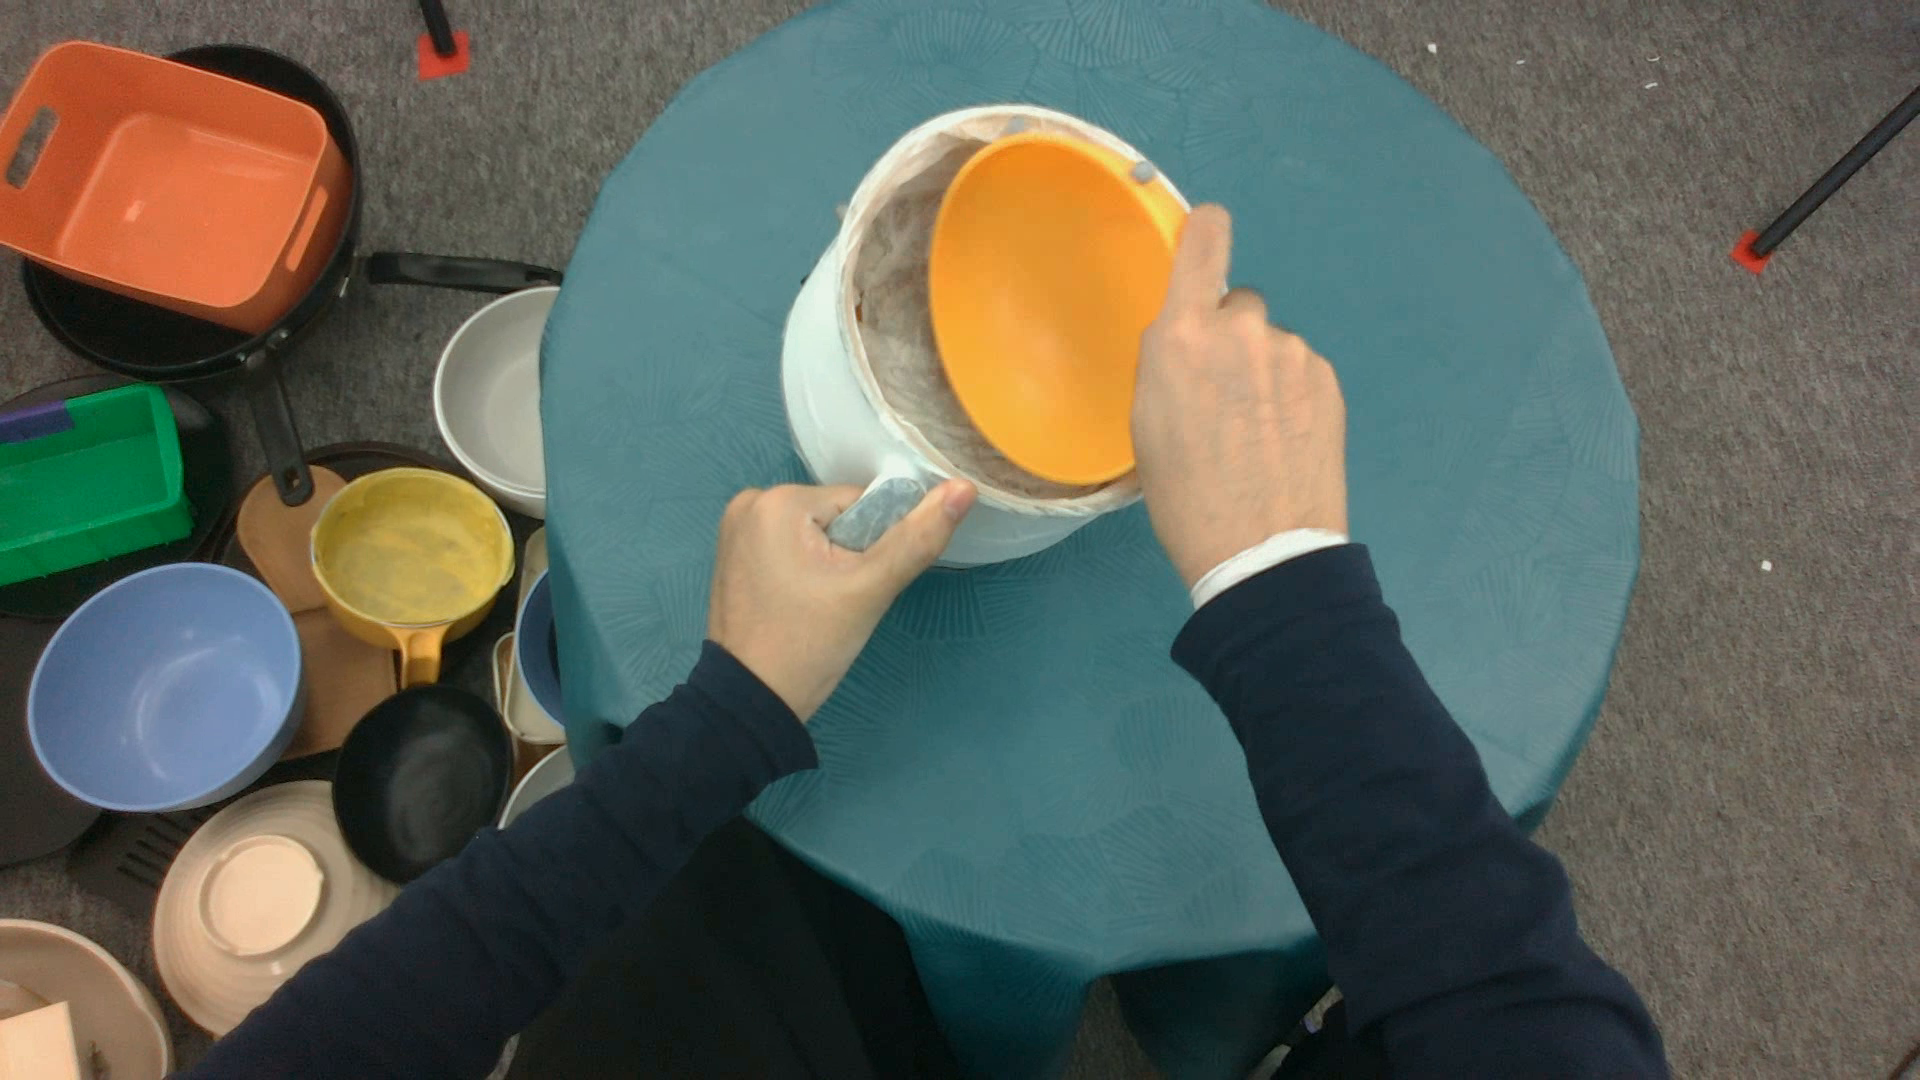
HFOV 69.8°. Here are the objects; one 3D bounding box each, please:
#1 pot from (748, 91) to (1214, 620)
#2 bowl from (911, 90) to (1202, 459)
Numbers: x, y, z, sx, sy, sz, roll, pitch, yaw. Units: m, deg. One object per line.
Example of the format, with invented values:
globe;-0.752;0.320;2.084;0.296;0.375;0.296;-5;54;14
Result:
pot;-0.009;-0.069;0.611;0.178;0.136;0.234;36;68;-8
bowl;0.049;-0.109;0.567;0.060;0.144;0.145;-15;68;-43
